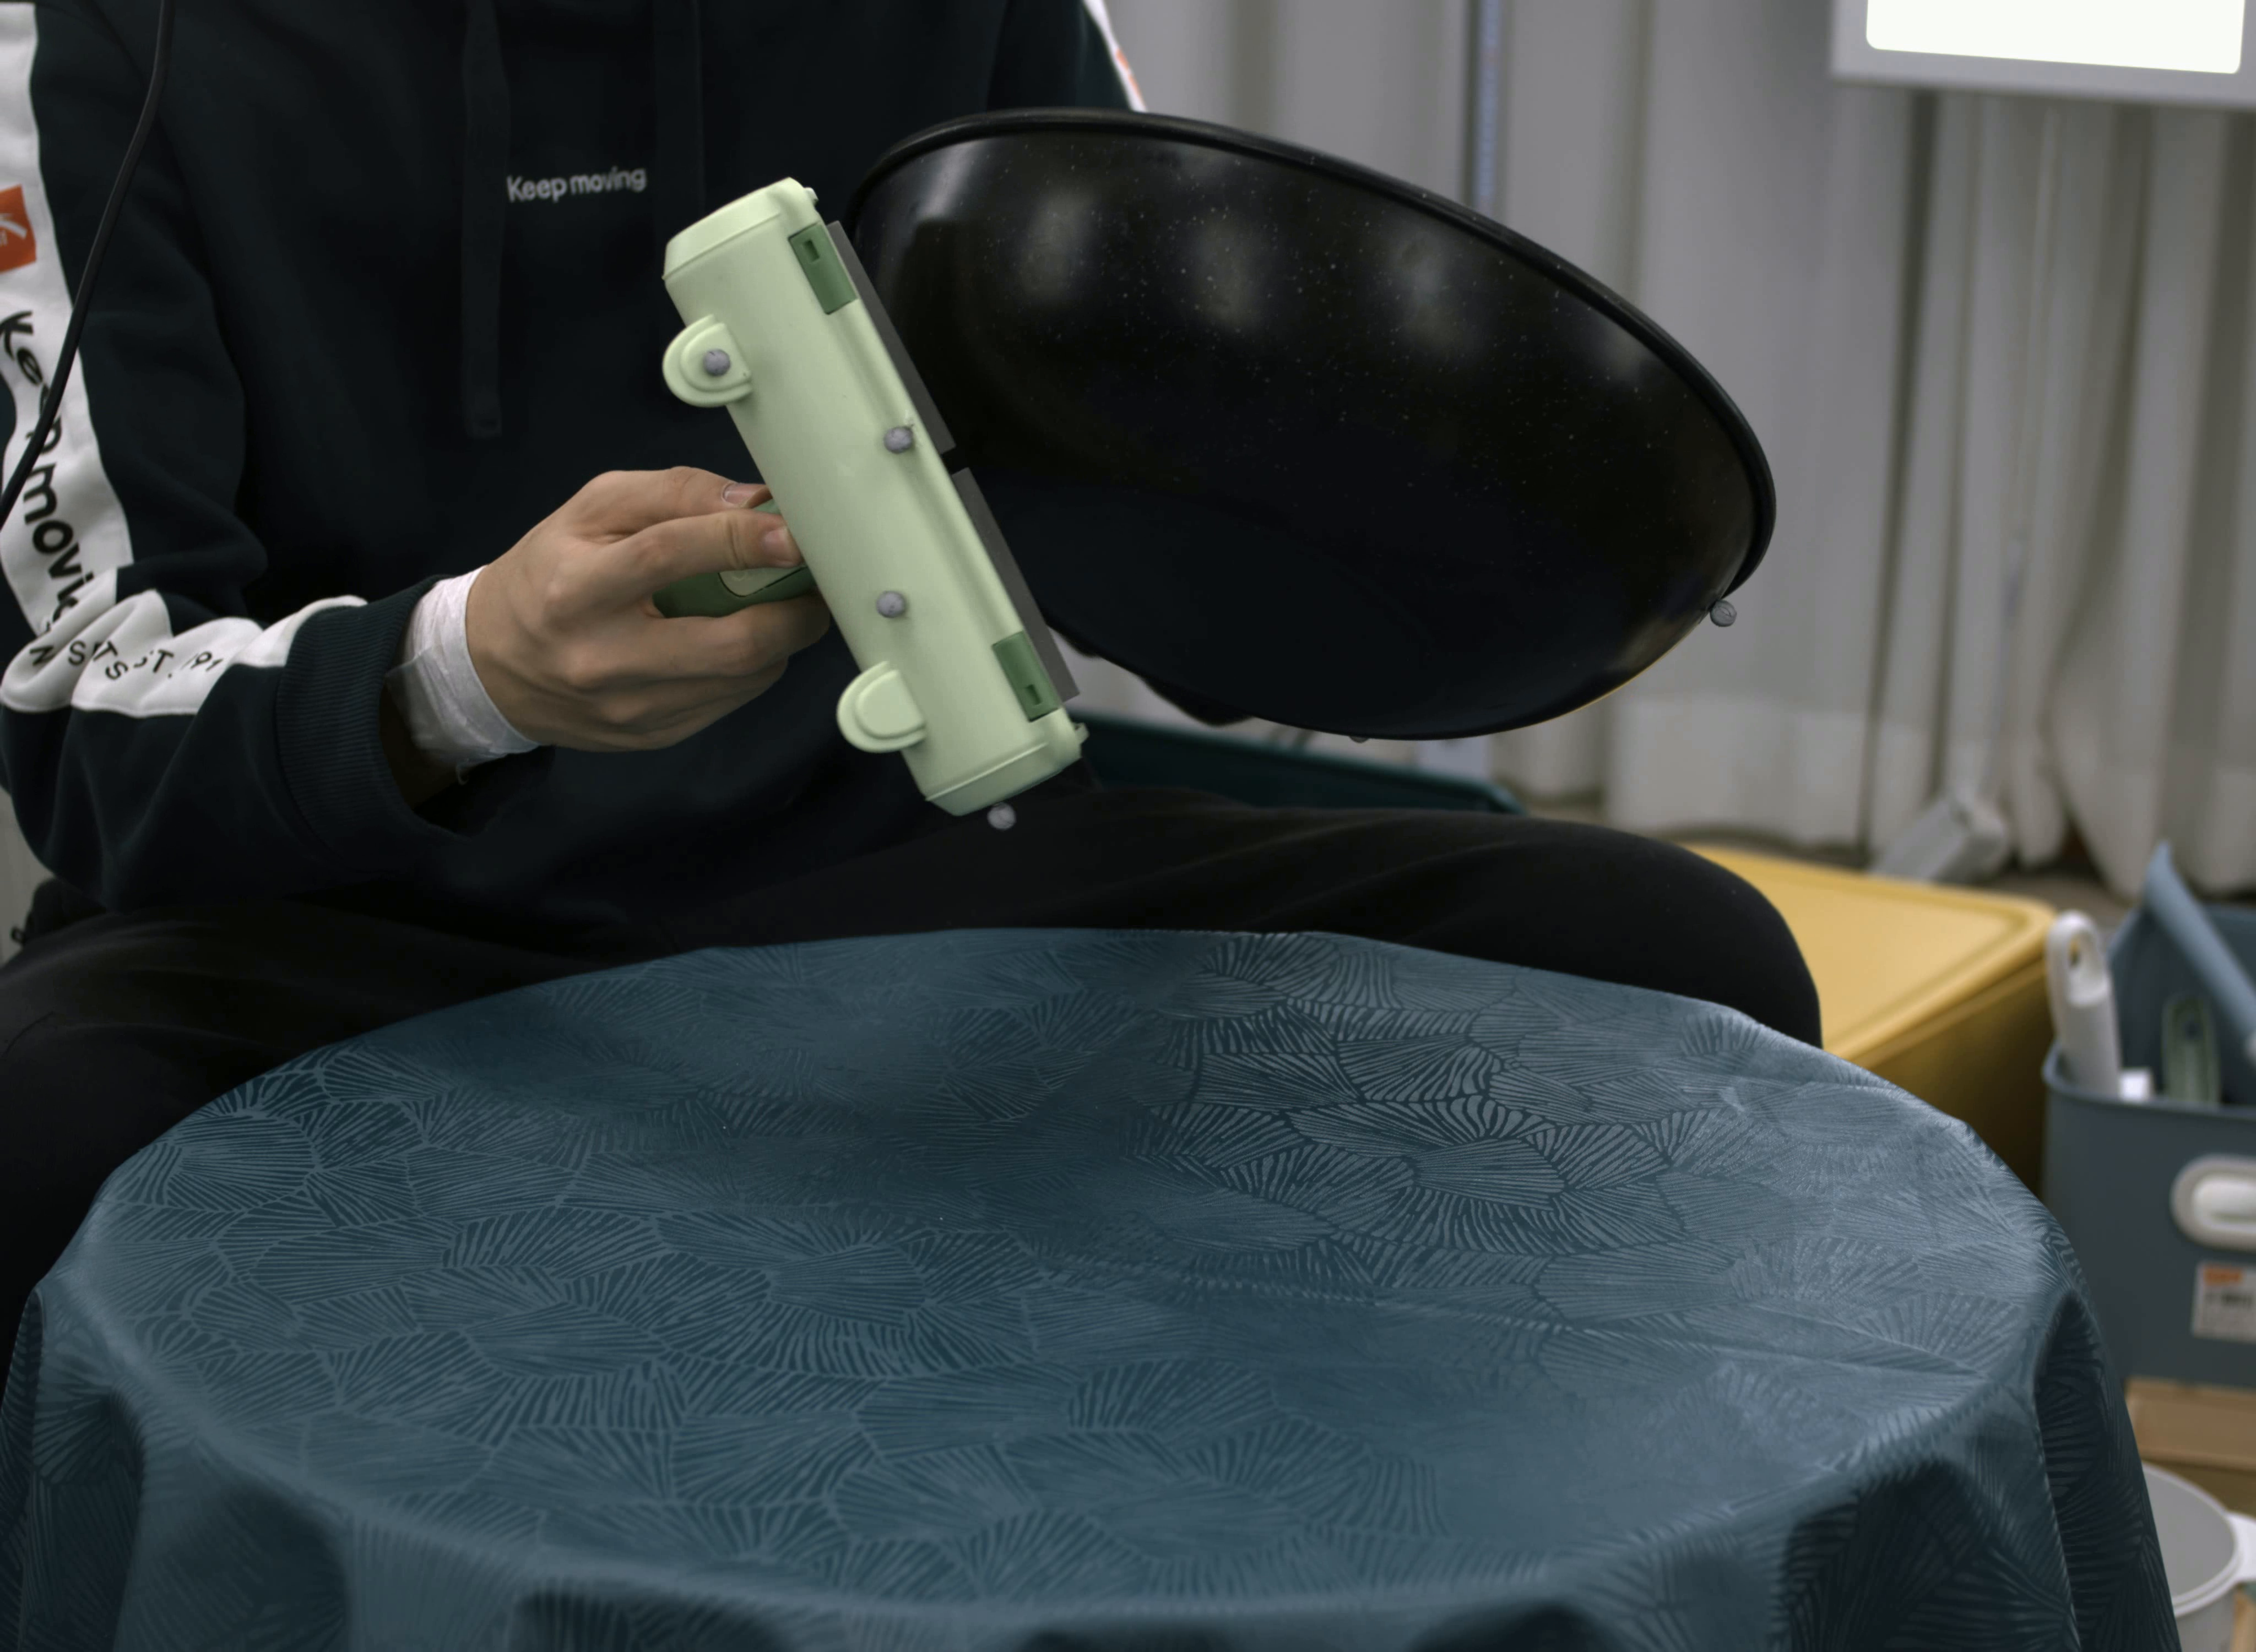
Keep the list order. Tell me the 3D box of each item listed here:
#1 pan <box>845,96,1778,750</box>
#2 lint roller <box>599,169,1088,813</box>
[{"bbox_3d":[0.040,-0.086,1.717,0.309,0.111,0.479,21,-19,2],"label":"pan"},{"bbox_3d":[-0.119,-0.079,1.611,0.182,0.199,0.082,-25,4,39],"label":"lint roller"}]
